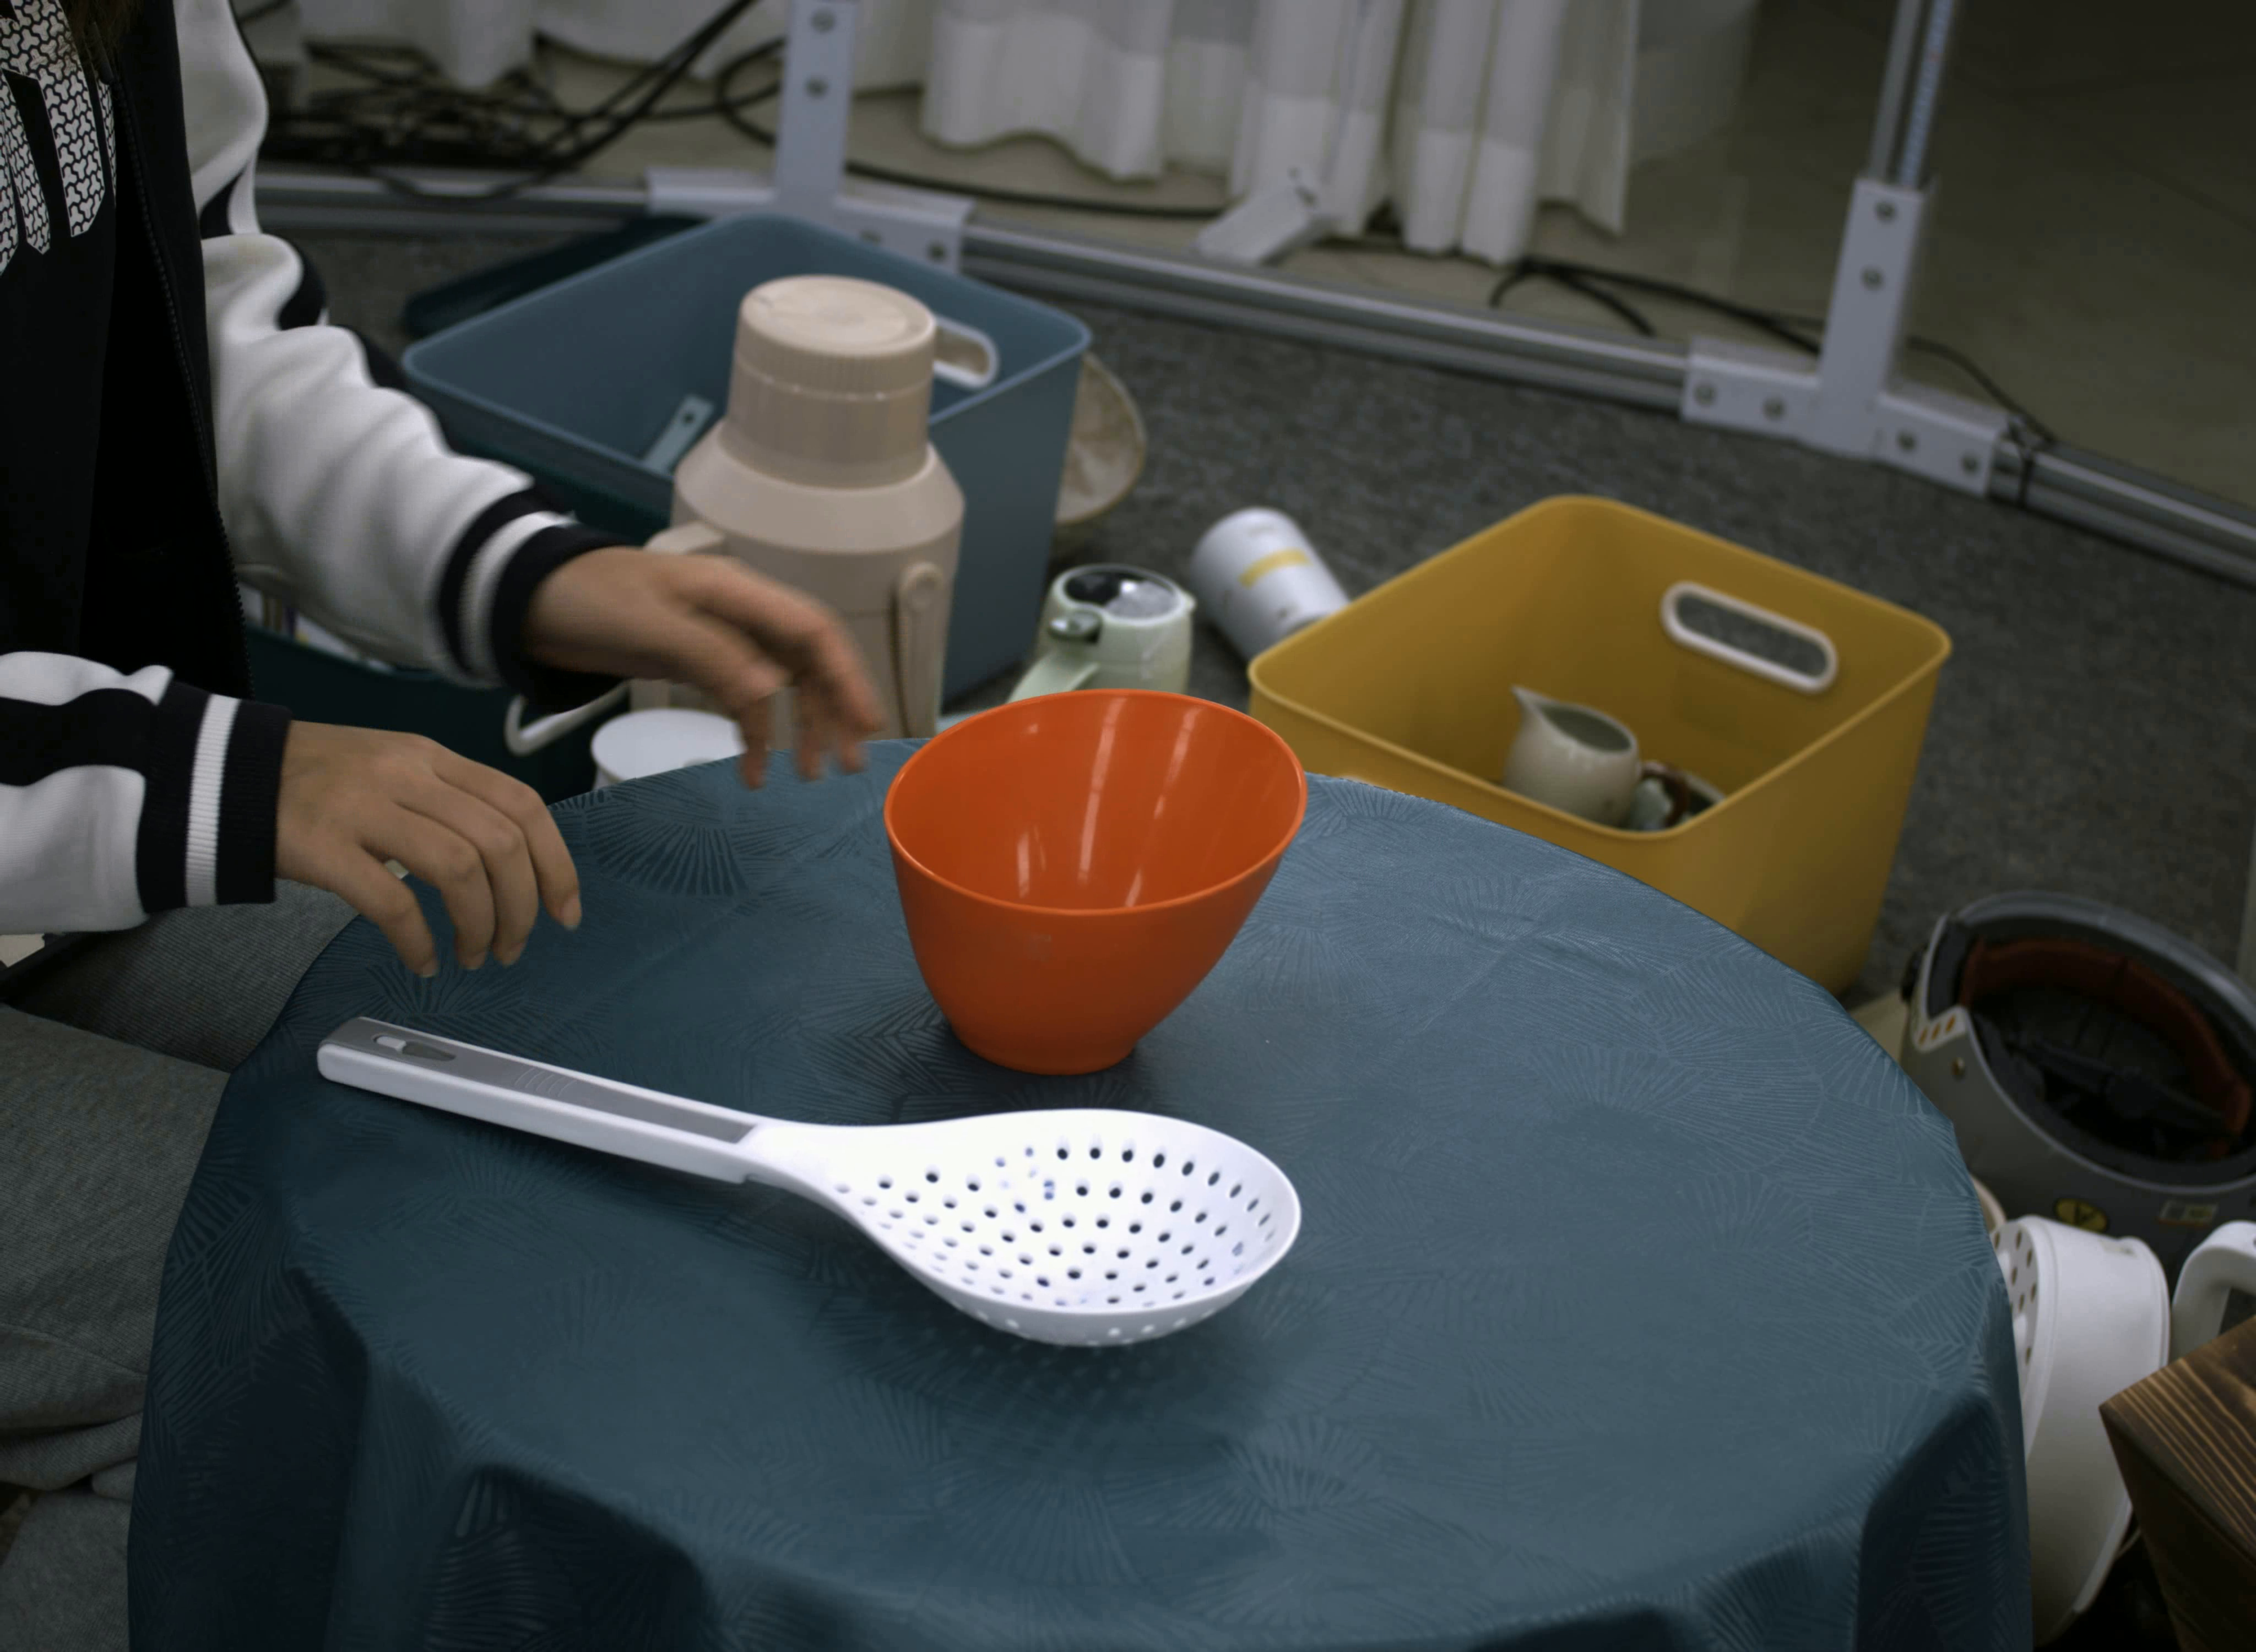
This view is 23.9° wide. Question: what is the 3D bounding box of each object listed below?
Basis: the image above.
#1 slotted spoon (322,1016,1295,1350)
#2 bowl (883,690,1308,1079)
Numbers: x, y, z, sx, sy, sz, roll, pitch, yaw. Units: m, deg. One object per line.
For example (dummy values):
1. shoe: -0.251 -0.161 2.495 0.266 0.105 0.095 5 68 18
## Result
1. slotted spoon: -0.112 0.109 1.755 0.351 0.045 0.136 16 28 20
2. bowl: -0.016 0.027 1.878 0.147 0.104 0.149 5 29 -3
